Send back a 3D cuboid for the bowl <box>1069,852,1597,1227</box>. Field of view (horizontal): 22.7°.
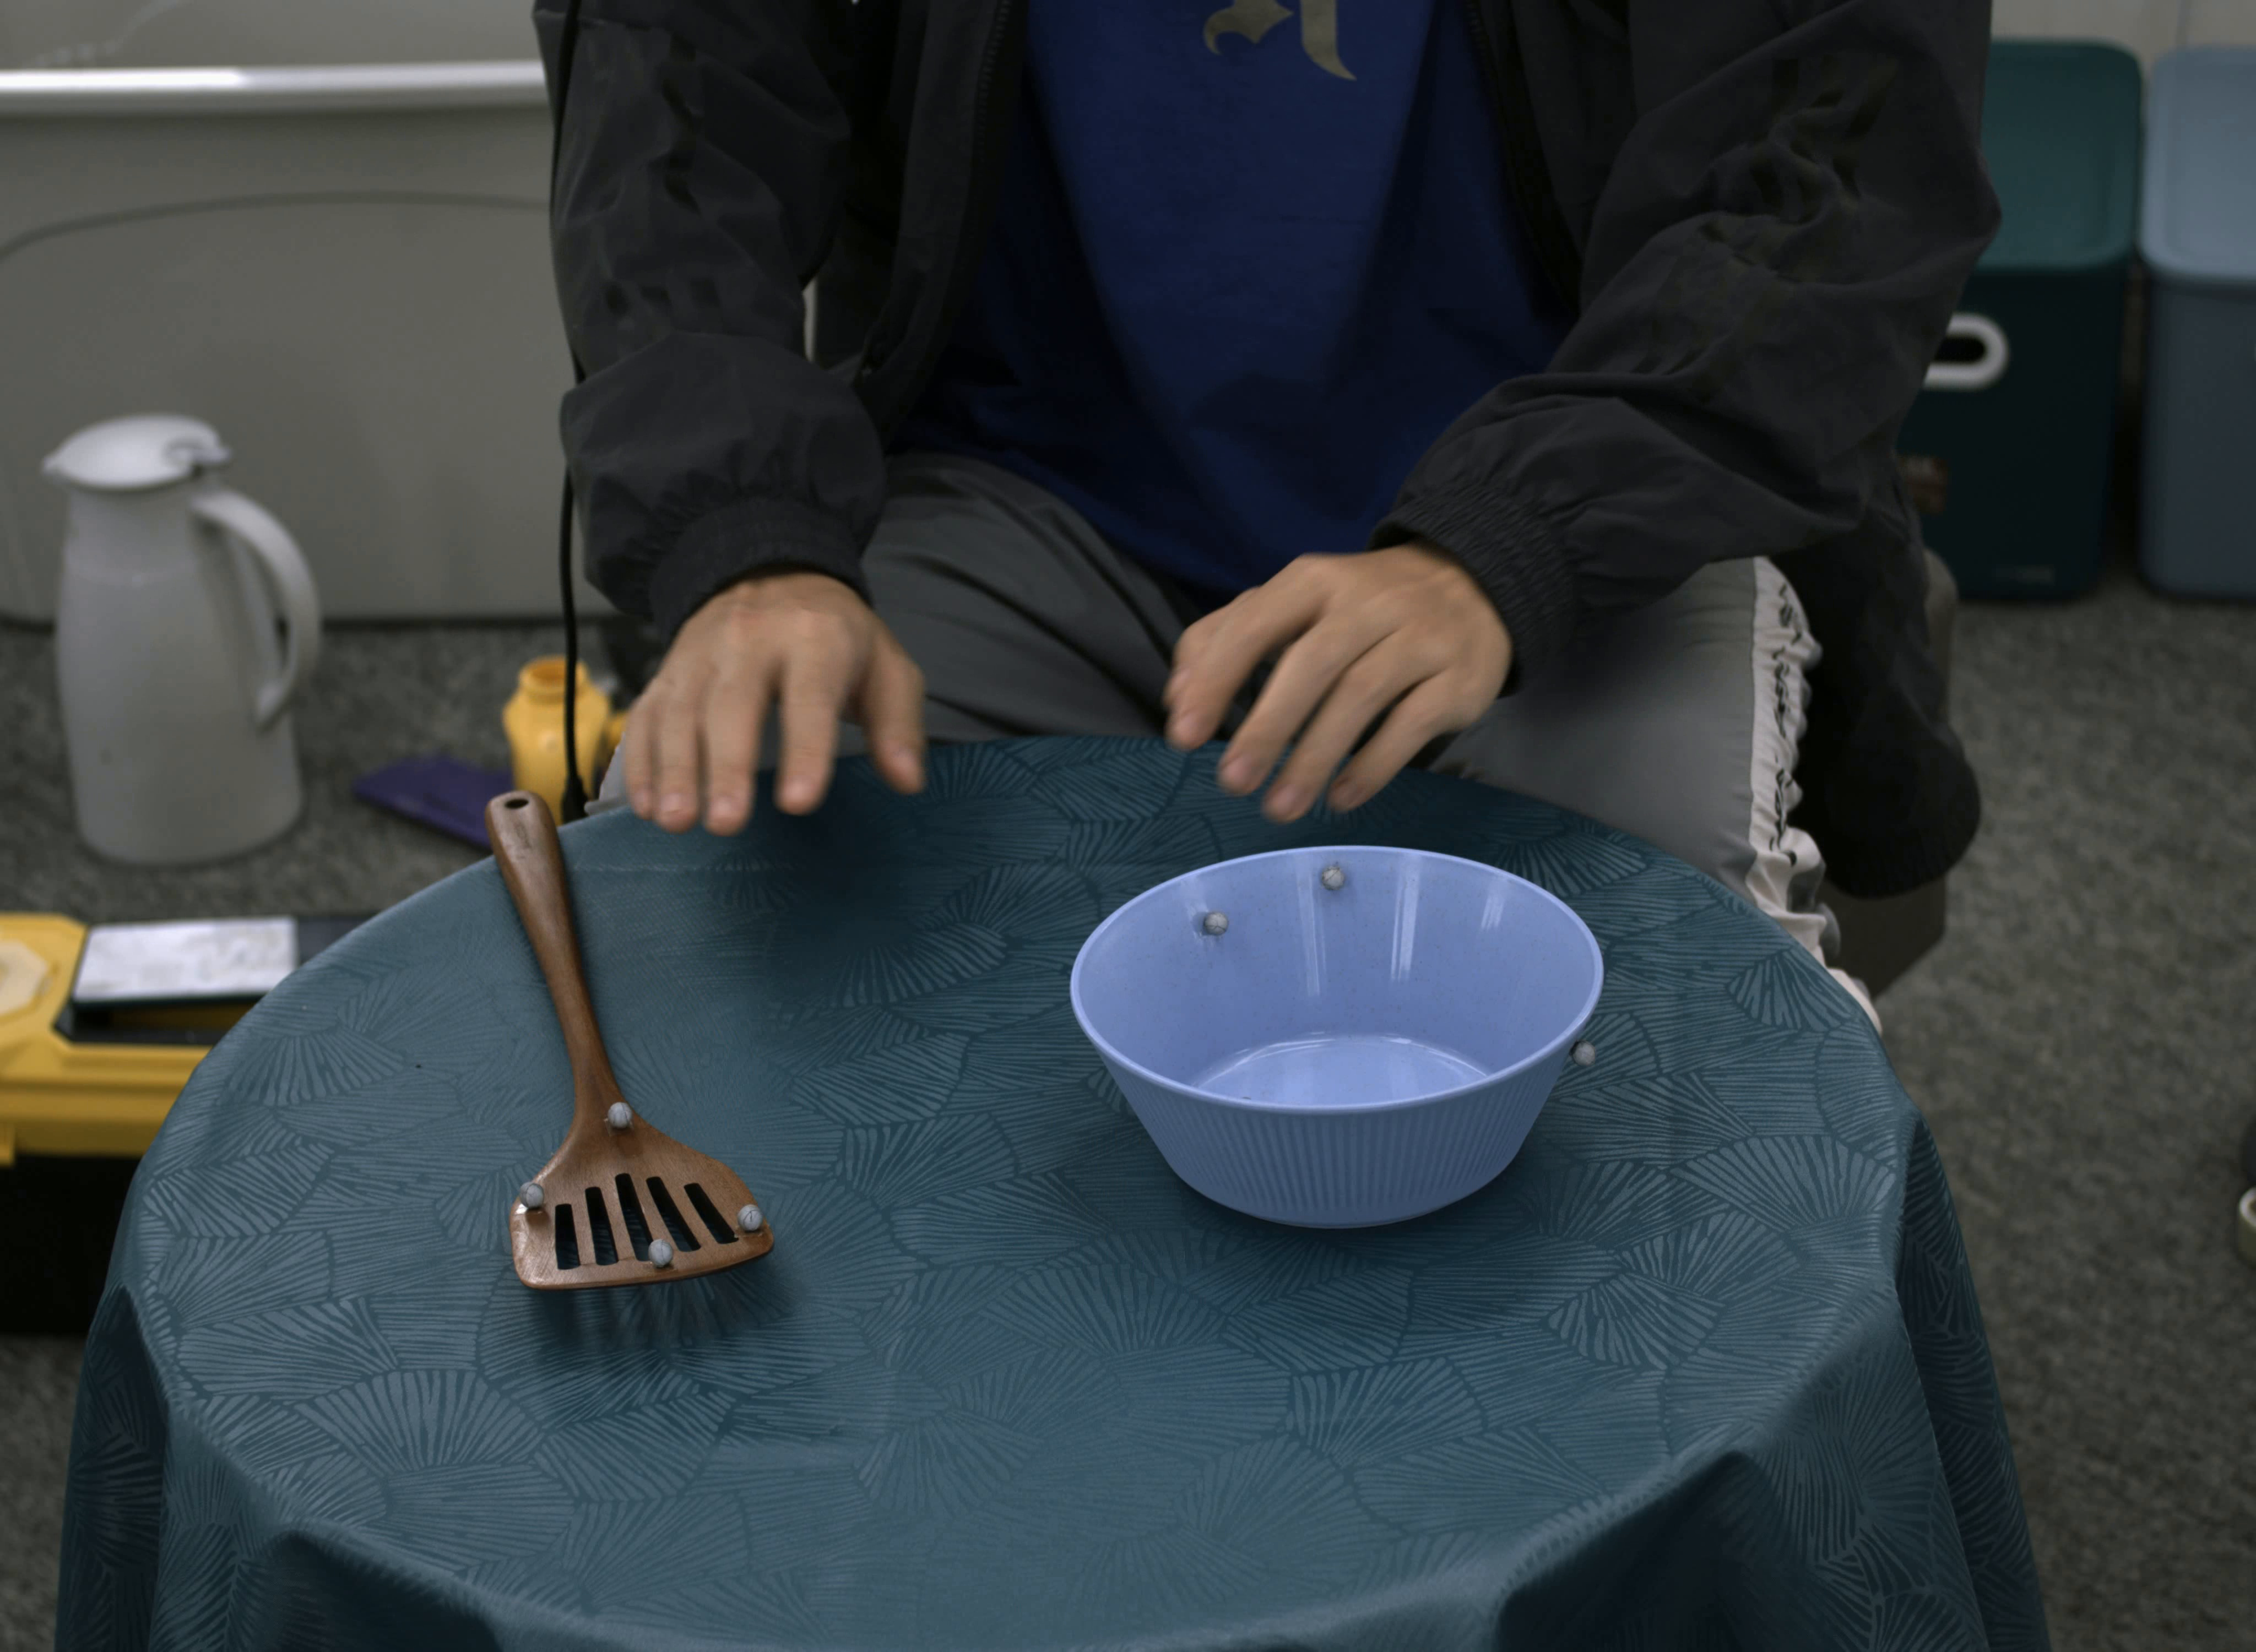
[{"bbox_3d":[0.069,0.077,1.865,0.175,0.069,0.178,-2,26,1],"label":"bowl"}]

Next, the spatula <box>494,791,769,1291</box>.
[{"bbox_3d":[-0.190,0.073,1.954,0.085,0.024,0.391,-7,26,-9],"label":"spatula"}]
